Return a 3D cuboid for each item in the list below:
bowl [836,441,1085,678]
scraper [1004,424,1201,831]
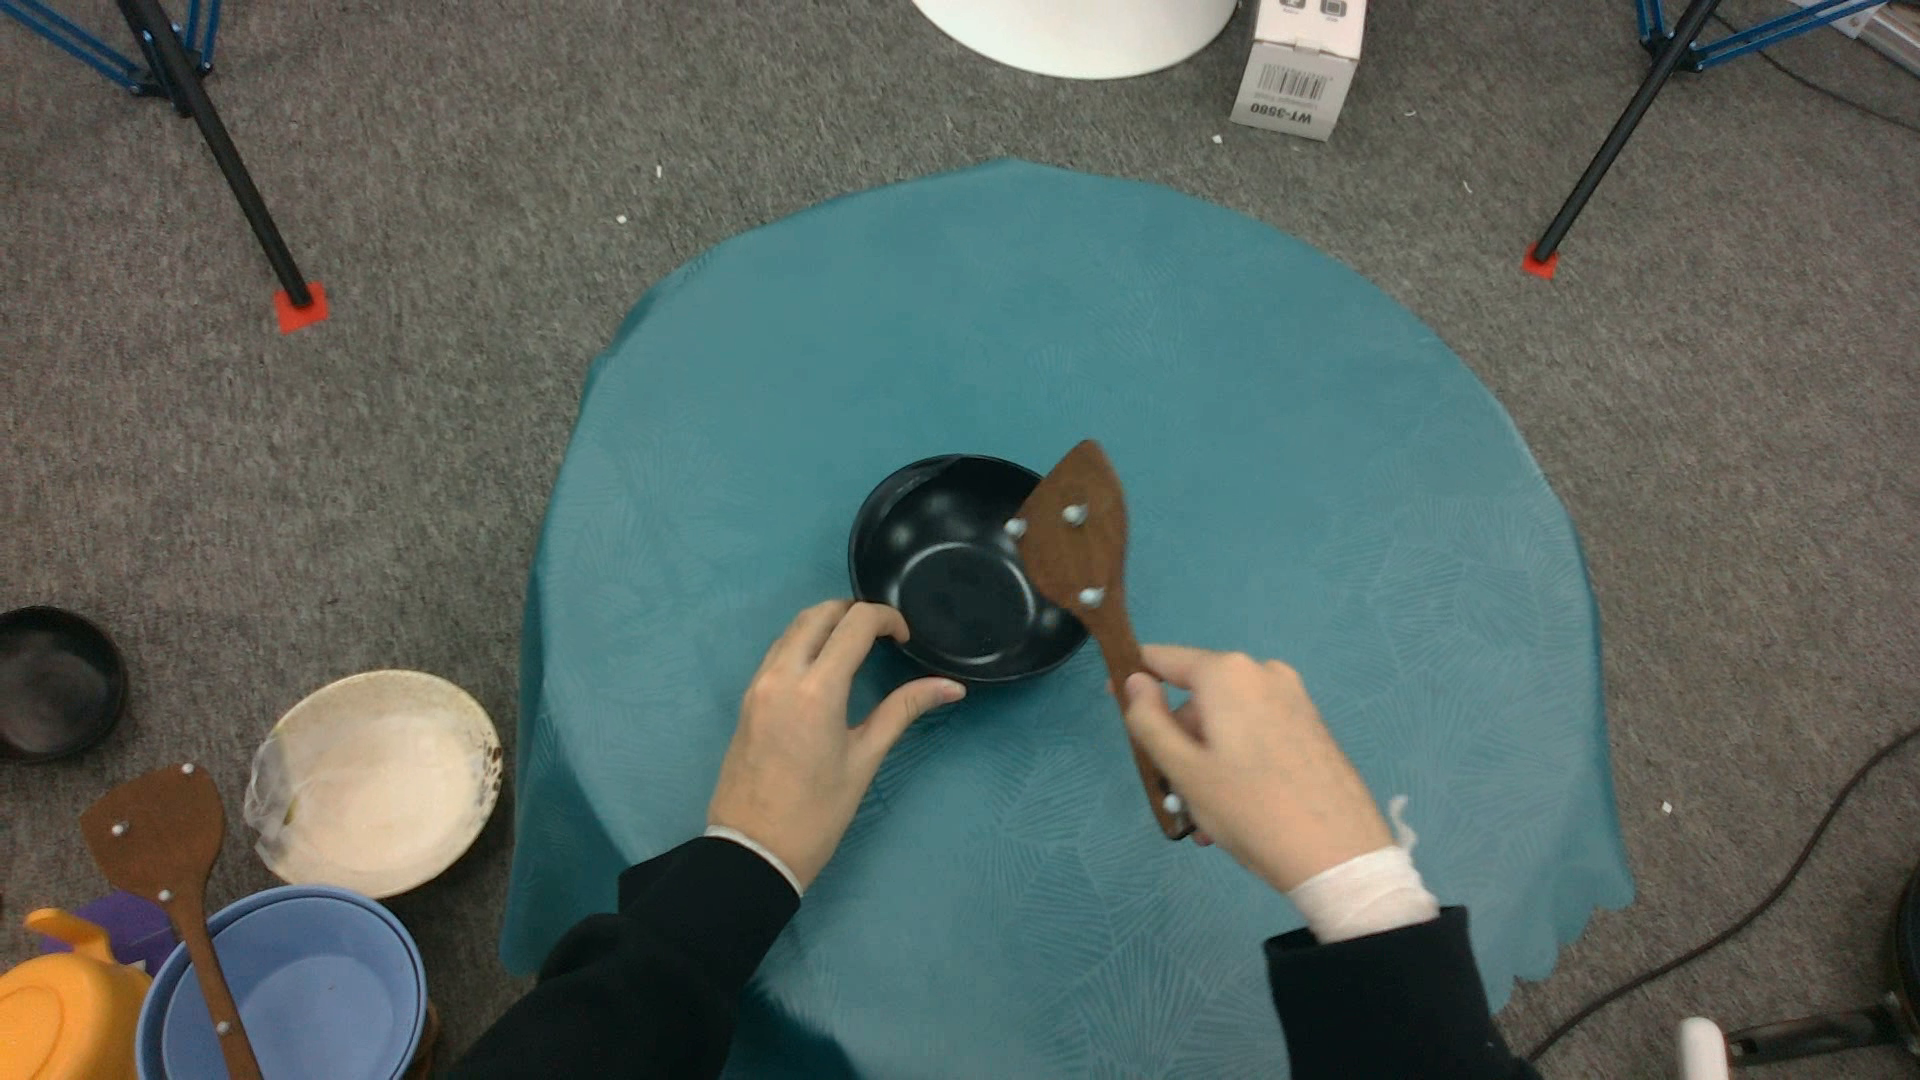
[{"bbox_3d":[-0.001,0.017,0.732,0.140,0.049,0.140,8,56,-12],"label":"bowl"},{"bbox_3d":[0.068,0.037,0.626,0.011,0.075,0.212,24,35,-36],"label":"scraper"}]
